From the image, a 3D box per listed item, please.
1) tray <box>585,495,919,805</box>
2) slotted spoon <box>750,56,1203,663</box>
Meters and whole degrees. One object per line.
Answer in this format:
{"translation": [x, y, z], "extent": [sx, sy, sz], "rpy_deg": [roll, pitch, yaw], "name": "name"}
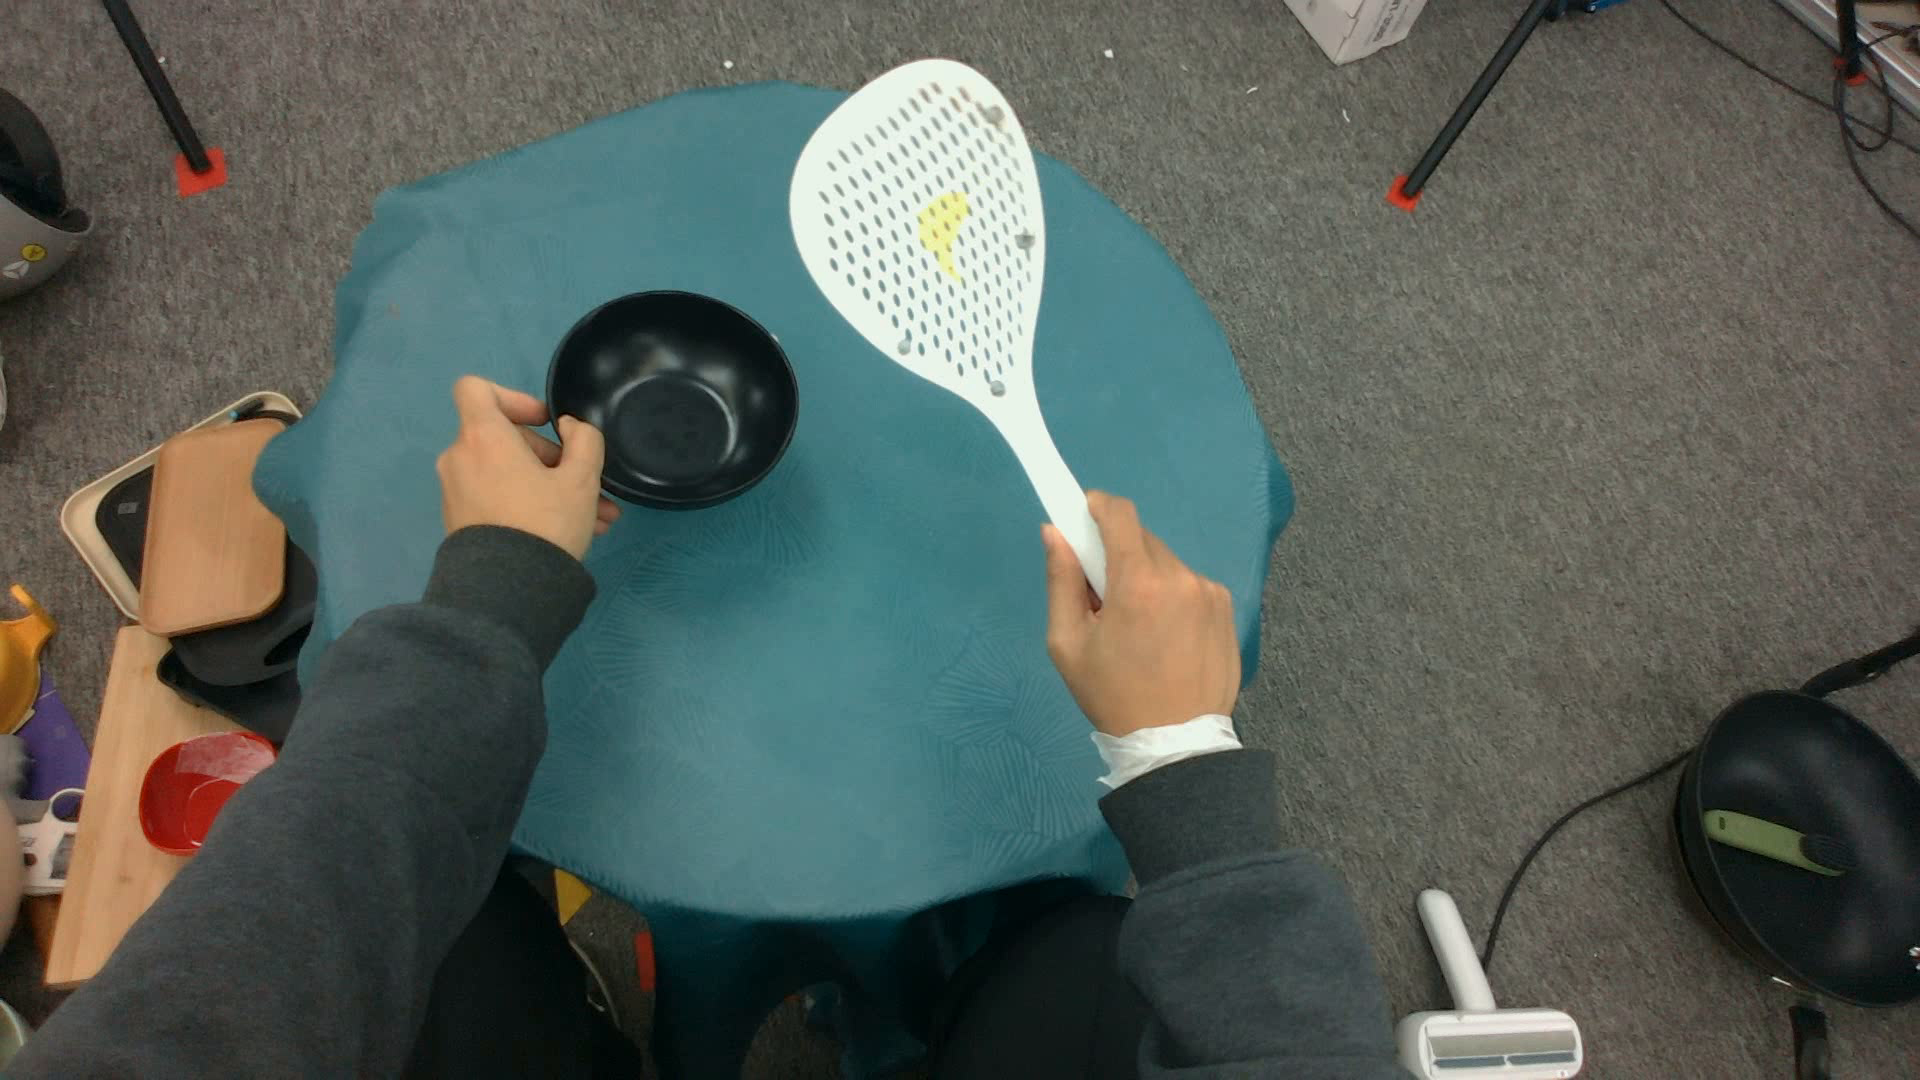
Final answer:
{"translation": [-0.208, 0.105, 1.387], "extent": [0.300, 0.027, 0.192], "rpy_deg": [39, 64, 11], "name": "tray"}
{"translation": [0.017, -0.082, 0.703], "extent": [0.136, 0.050, 0.348], "rpy_deg": [-33, 81, 20], "name": "slotted spoon"}
